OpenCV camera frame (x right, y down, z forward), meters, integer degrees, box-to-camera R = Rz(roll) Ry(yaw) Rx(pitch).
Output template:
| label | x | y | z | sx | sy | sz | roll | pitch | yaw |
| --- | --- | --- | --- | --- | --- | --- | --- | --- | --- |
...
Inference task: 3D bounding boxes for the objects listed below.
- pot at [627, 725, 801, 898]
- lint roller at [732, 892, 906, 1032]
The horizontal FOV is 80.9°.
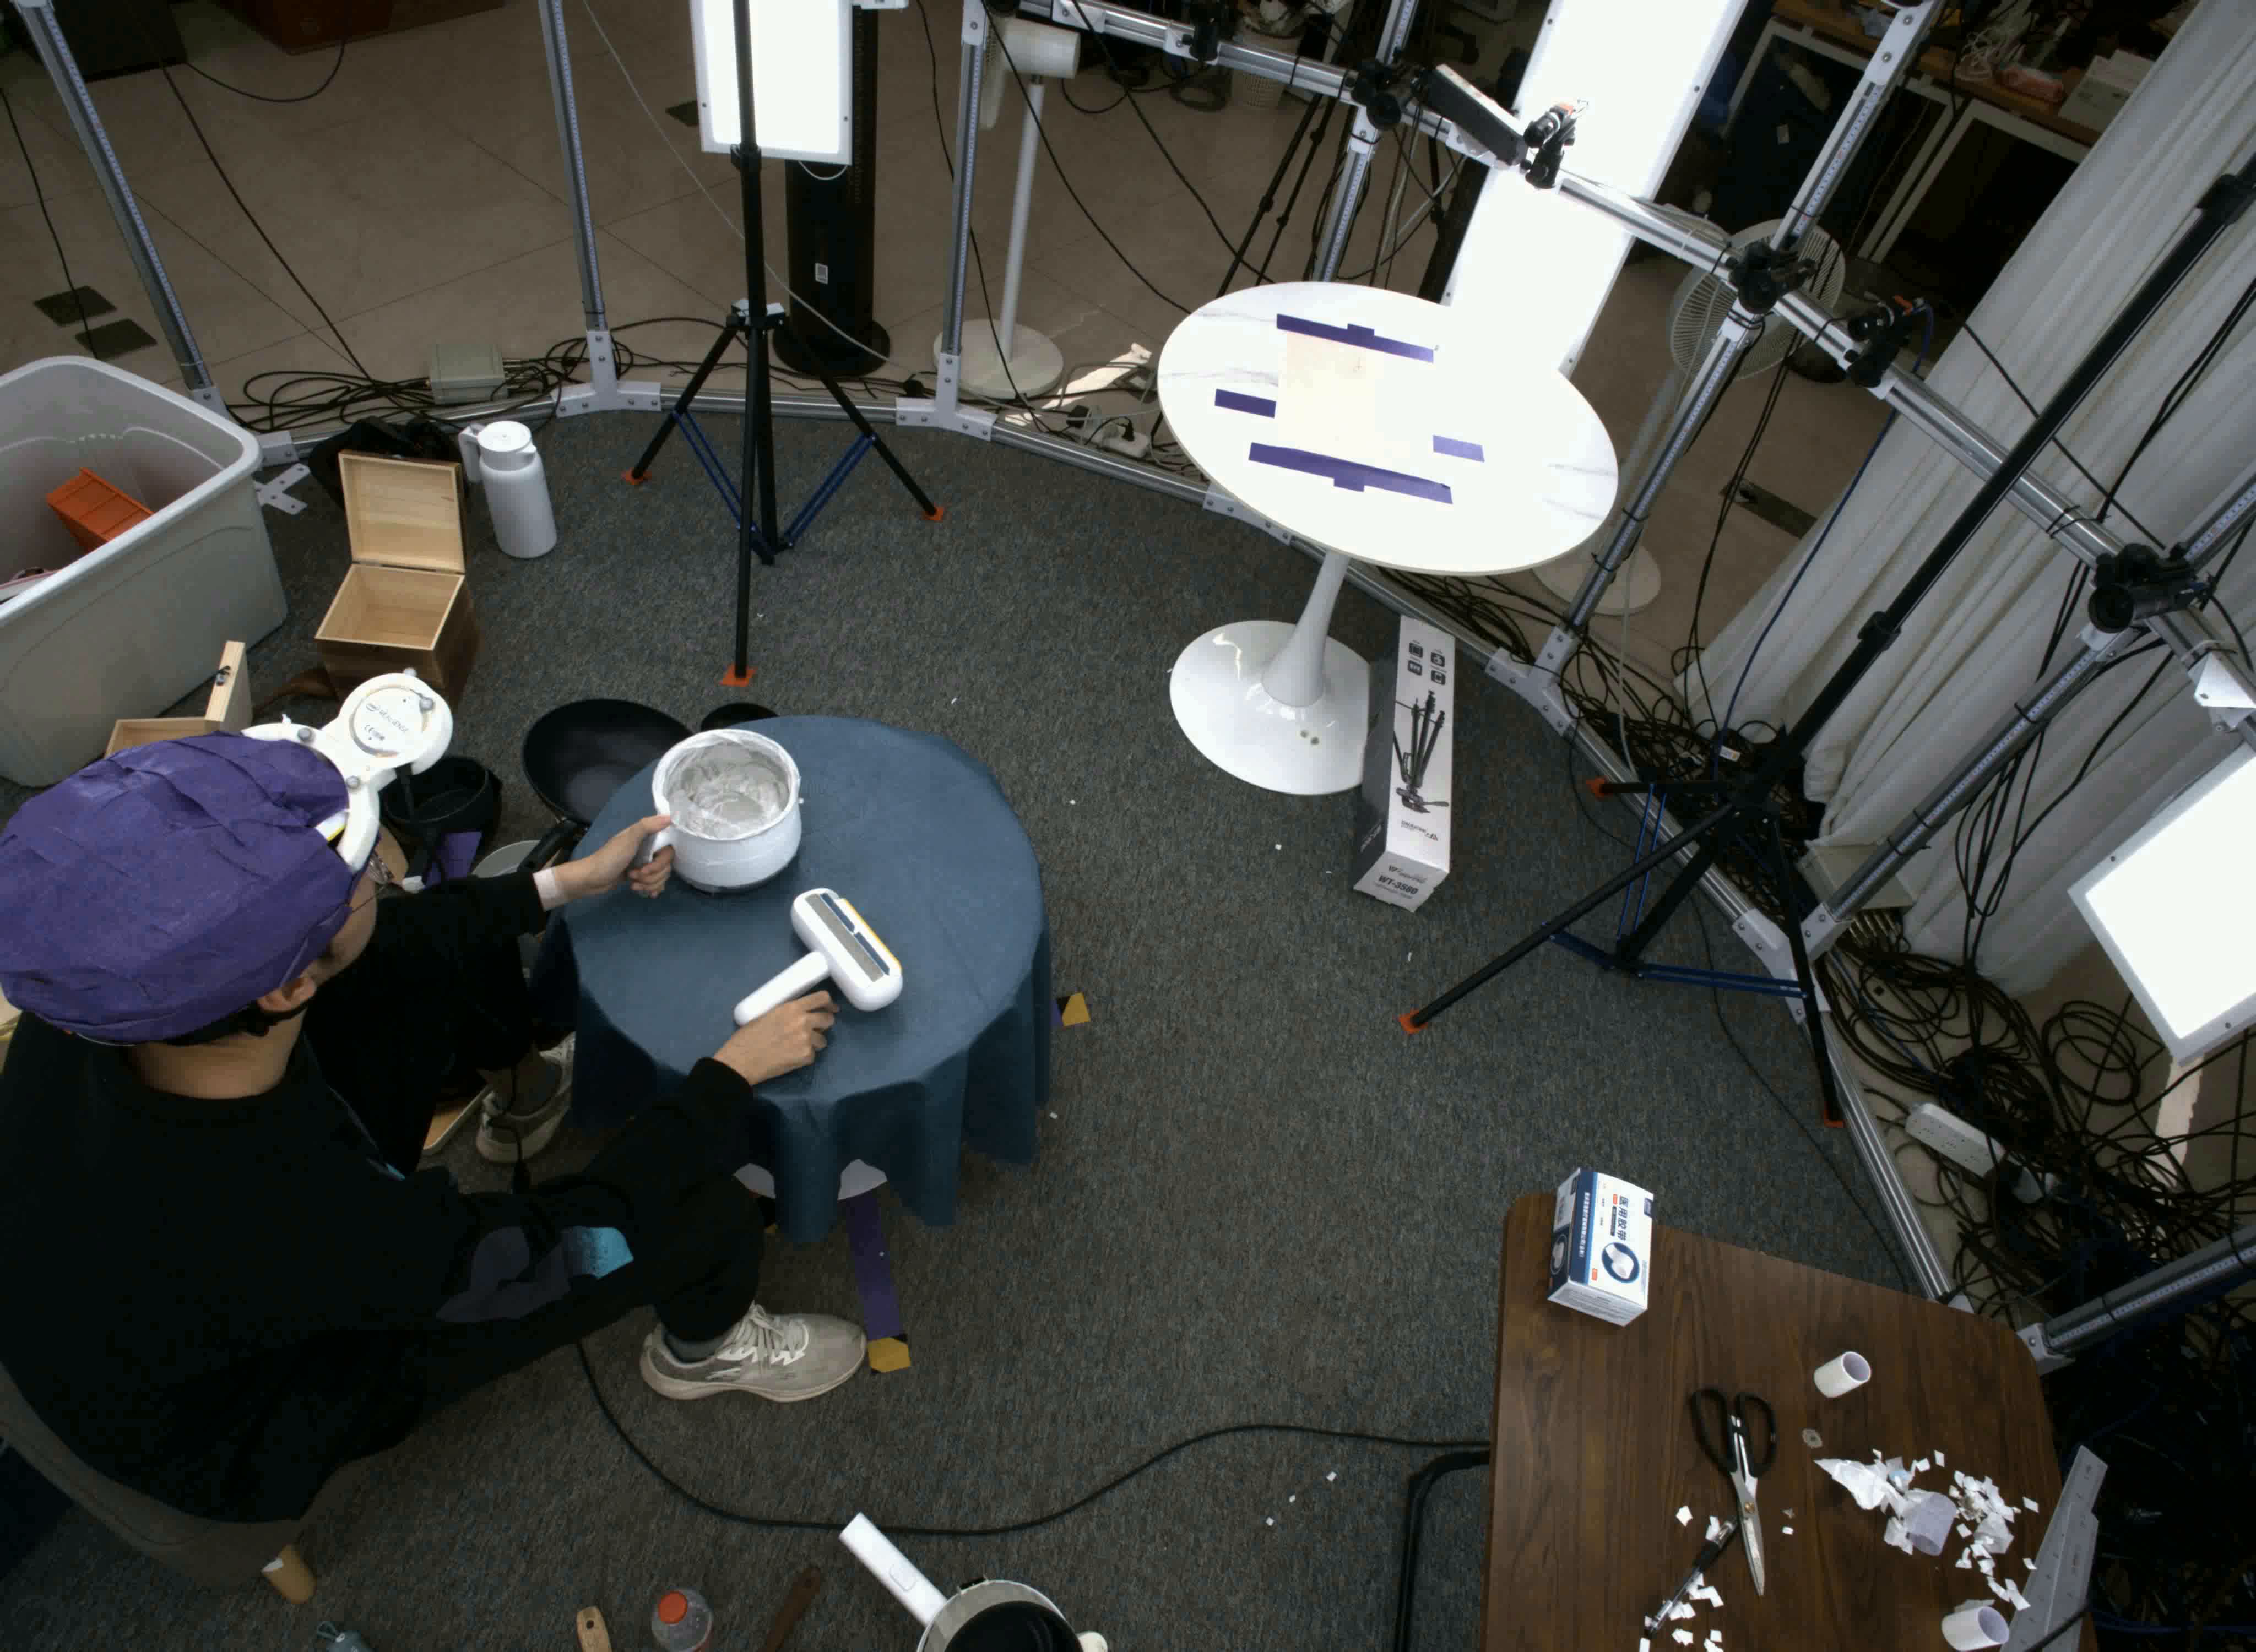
| label | x | y | z | sx | sy | sz | roll | pitch | yaw |
| --- | --- | --- | --- | --- | --- | --- | --- | --- | --- |
| pot | -0.523 | -0.005 | 1.616 | 0.174 | 0.139 | 0.234 | 41 | 54 | 20 |
| lint roller | -0.388 | 0.180 | 1.563 | 0.193 | 0.076 | 0.187 | -25 | 58 | -27 |
